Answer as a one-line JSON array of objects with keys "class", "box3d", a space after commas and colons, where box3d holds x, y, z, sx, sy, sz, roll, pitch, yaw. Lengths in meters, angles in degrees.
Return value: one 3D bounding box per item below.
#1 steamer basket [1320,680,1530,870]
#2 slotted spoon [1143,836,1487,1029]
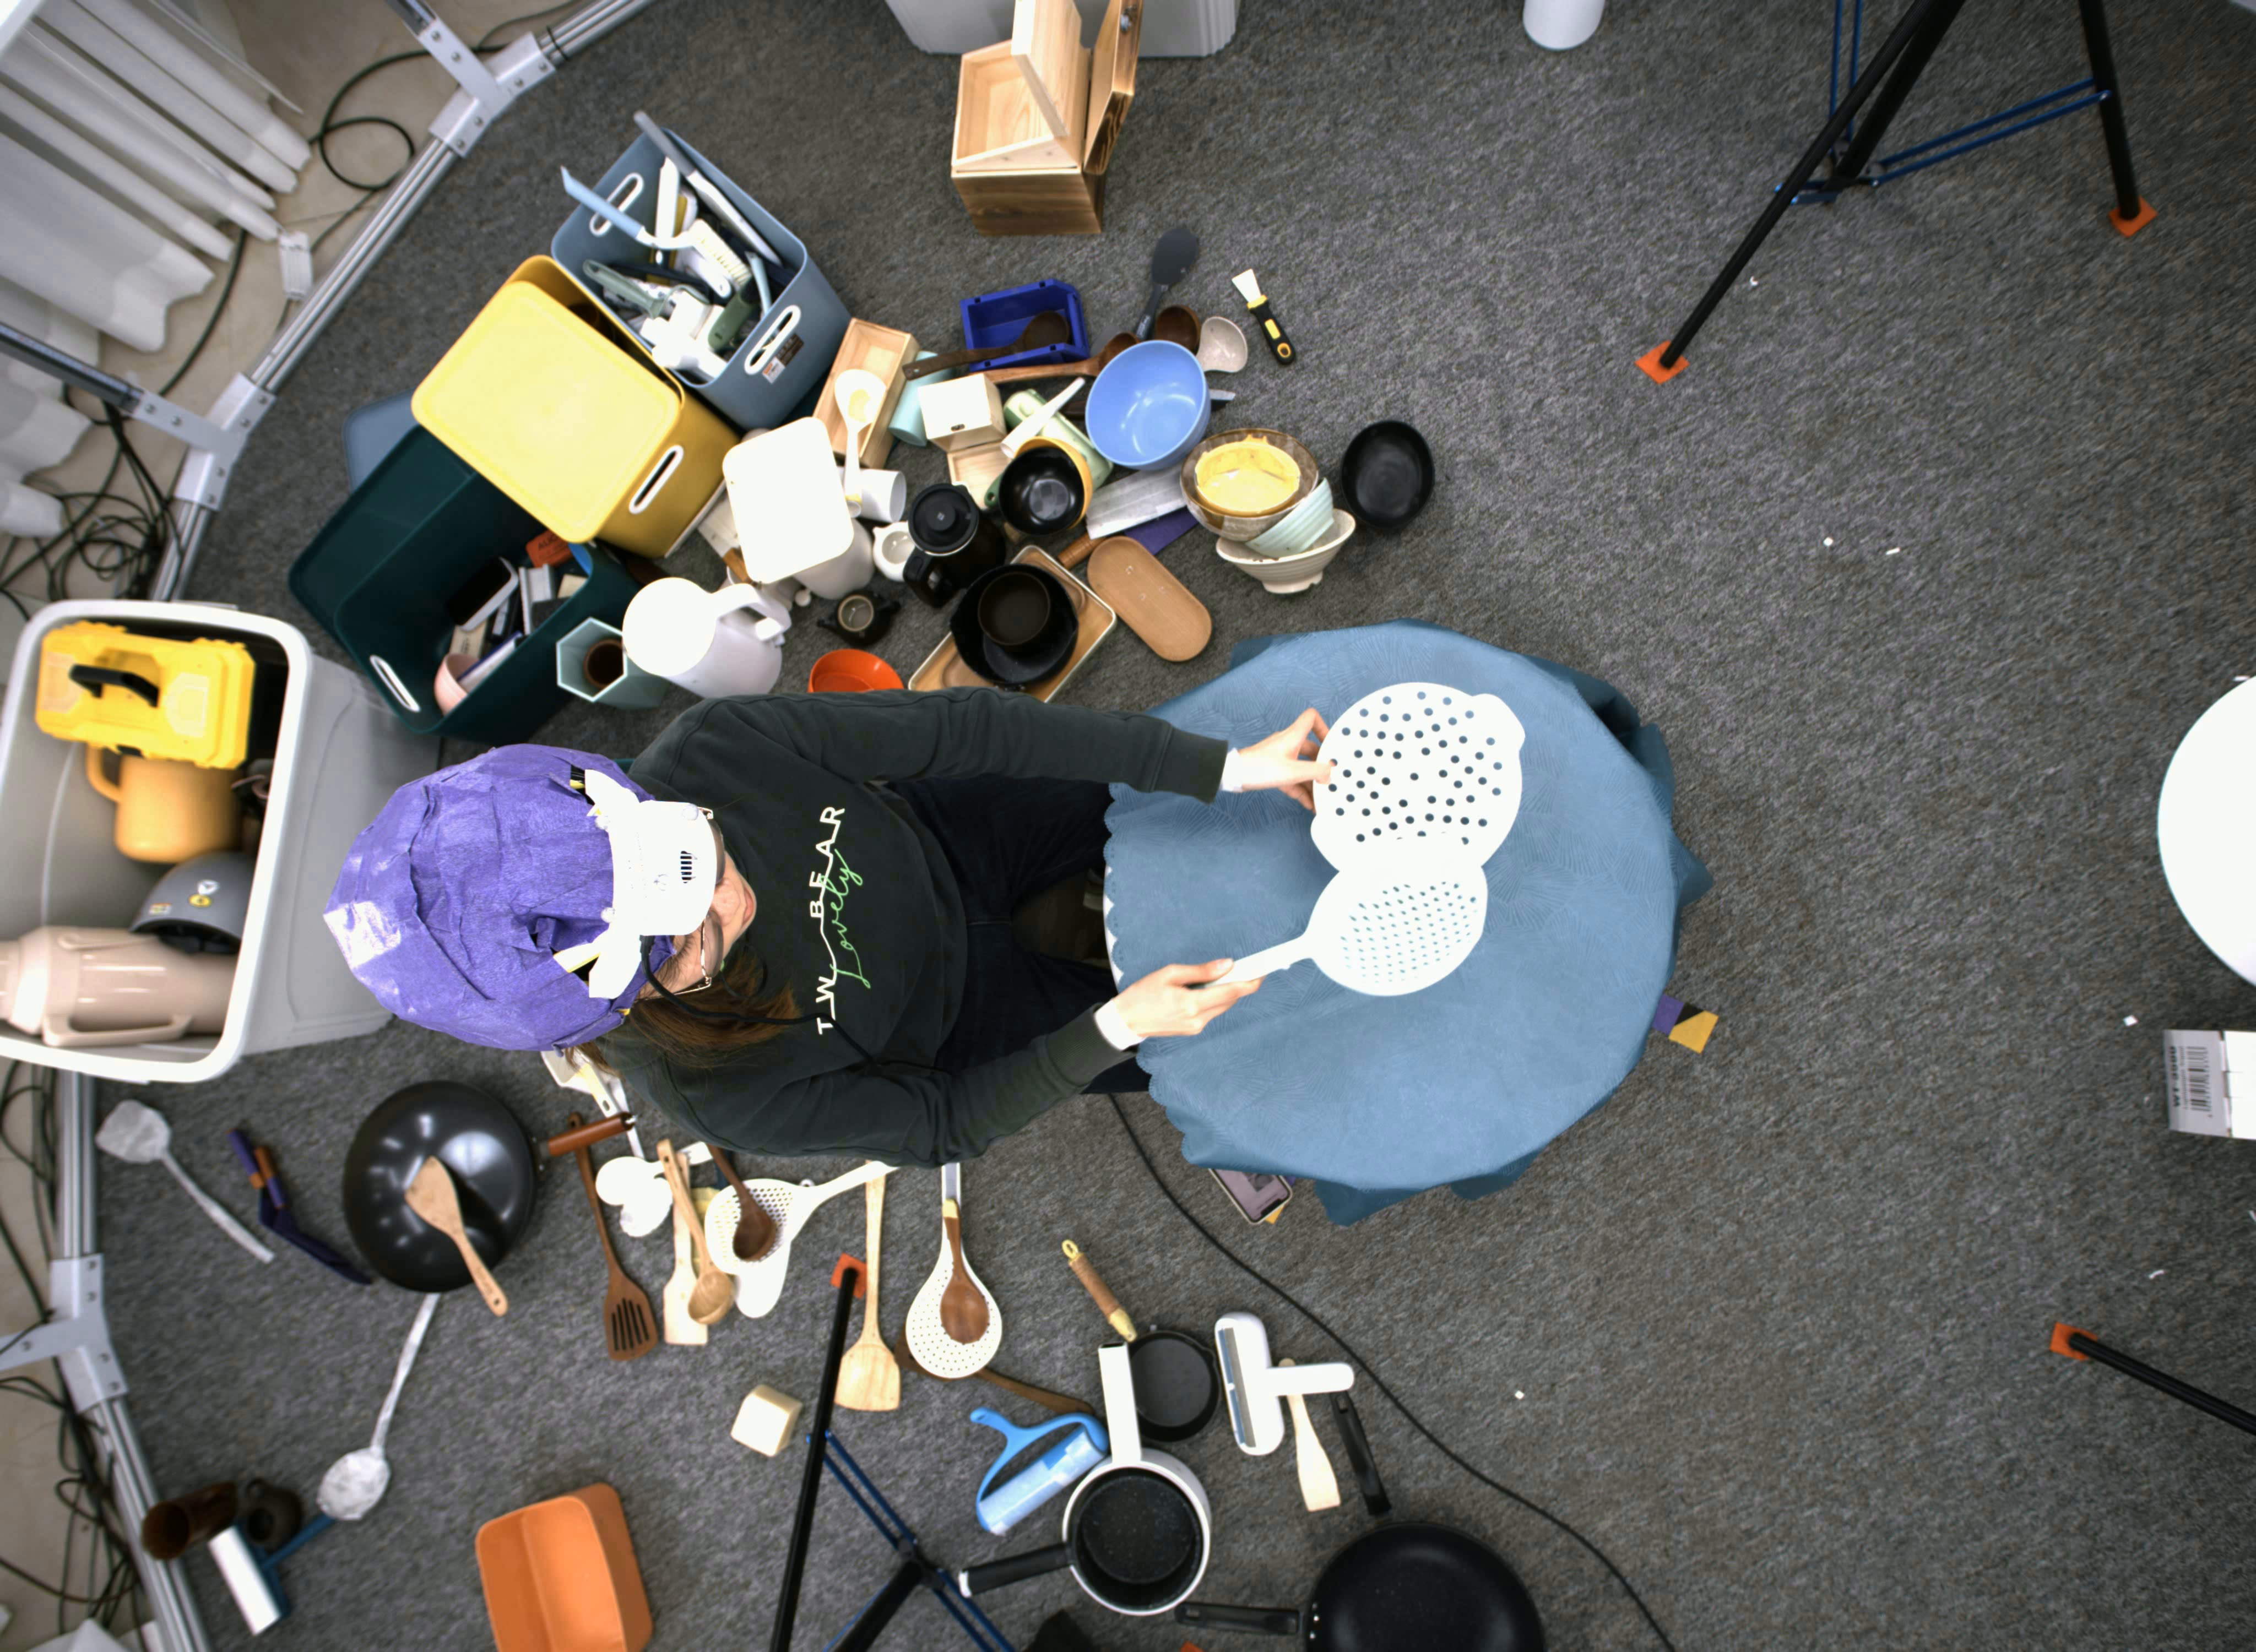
[{"class": "steamer basket", "box3d": [0.297, -0.049, 1.385, 0.233, 0.068, 0.202, -39, 92, 16]}, {"class": "slotted spoon", "box3d": [0.167, 0.123, 1.306, 0.362, 0.077, 0.165, -17, 41, 17]}]
